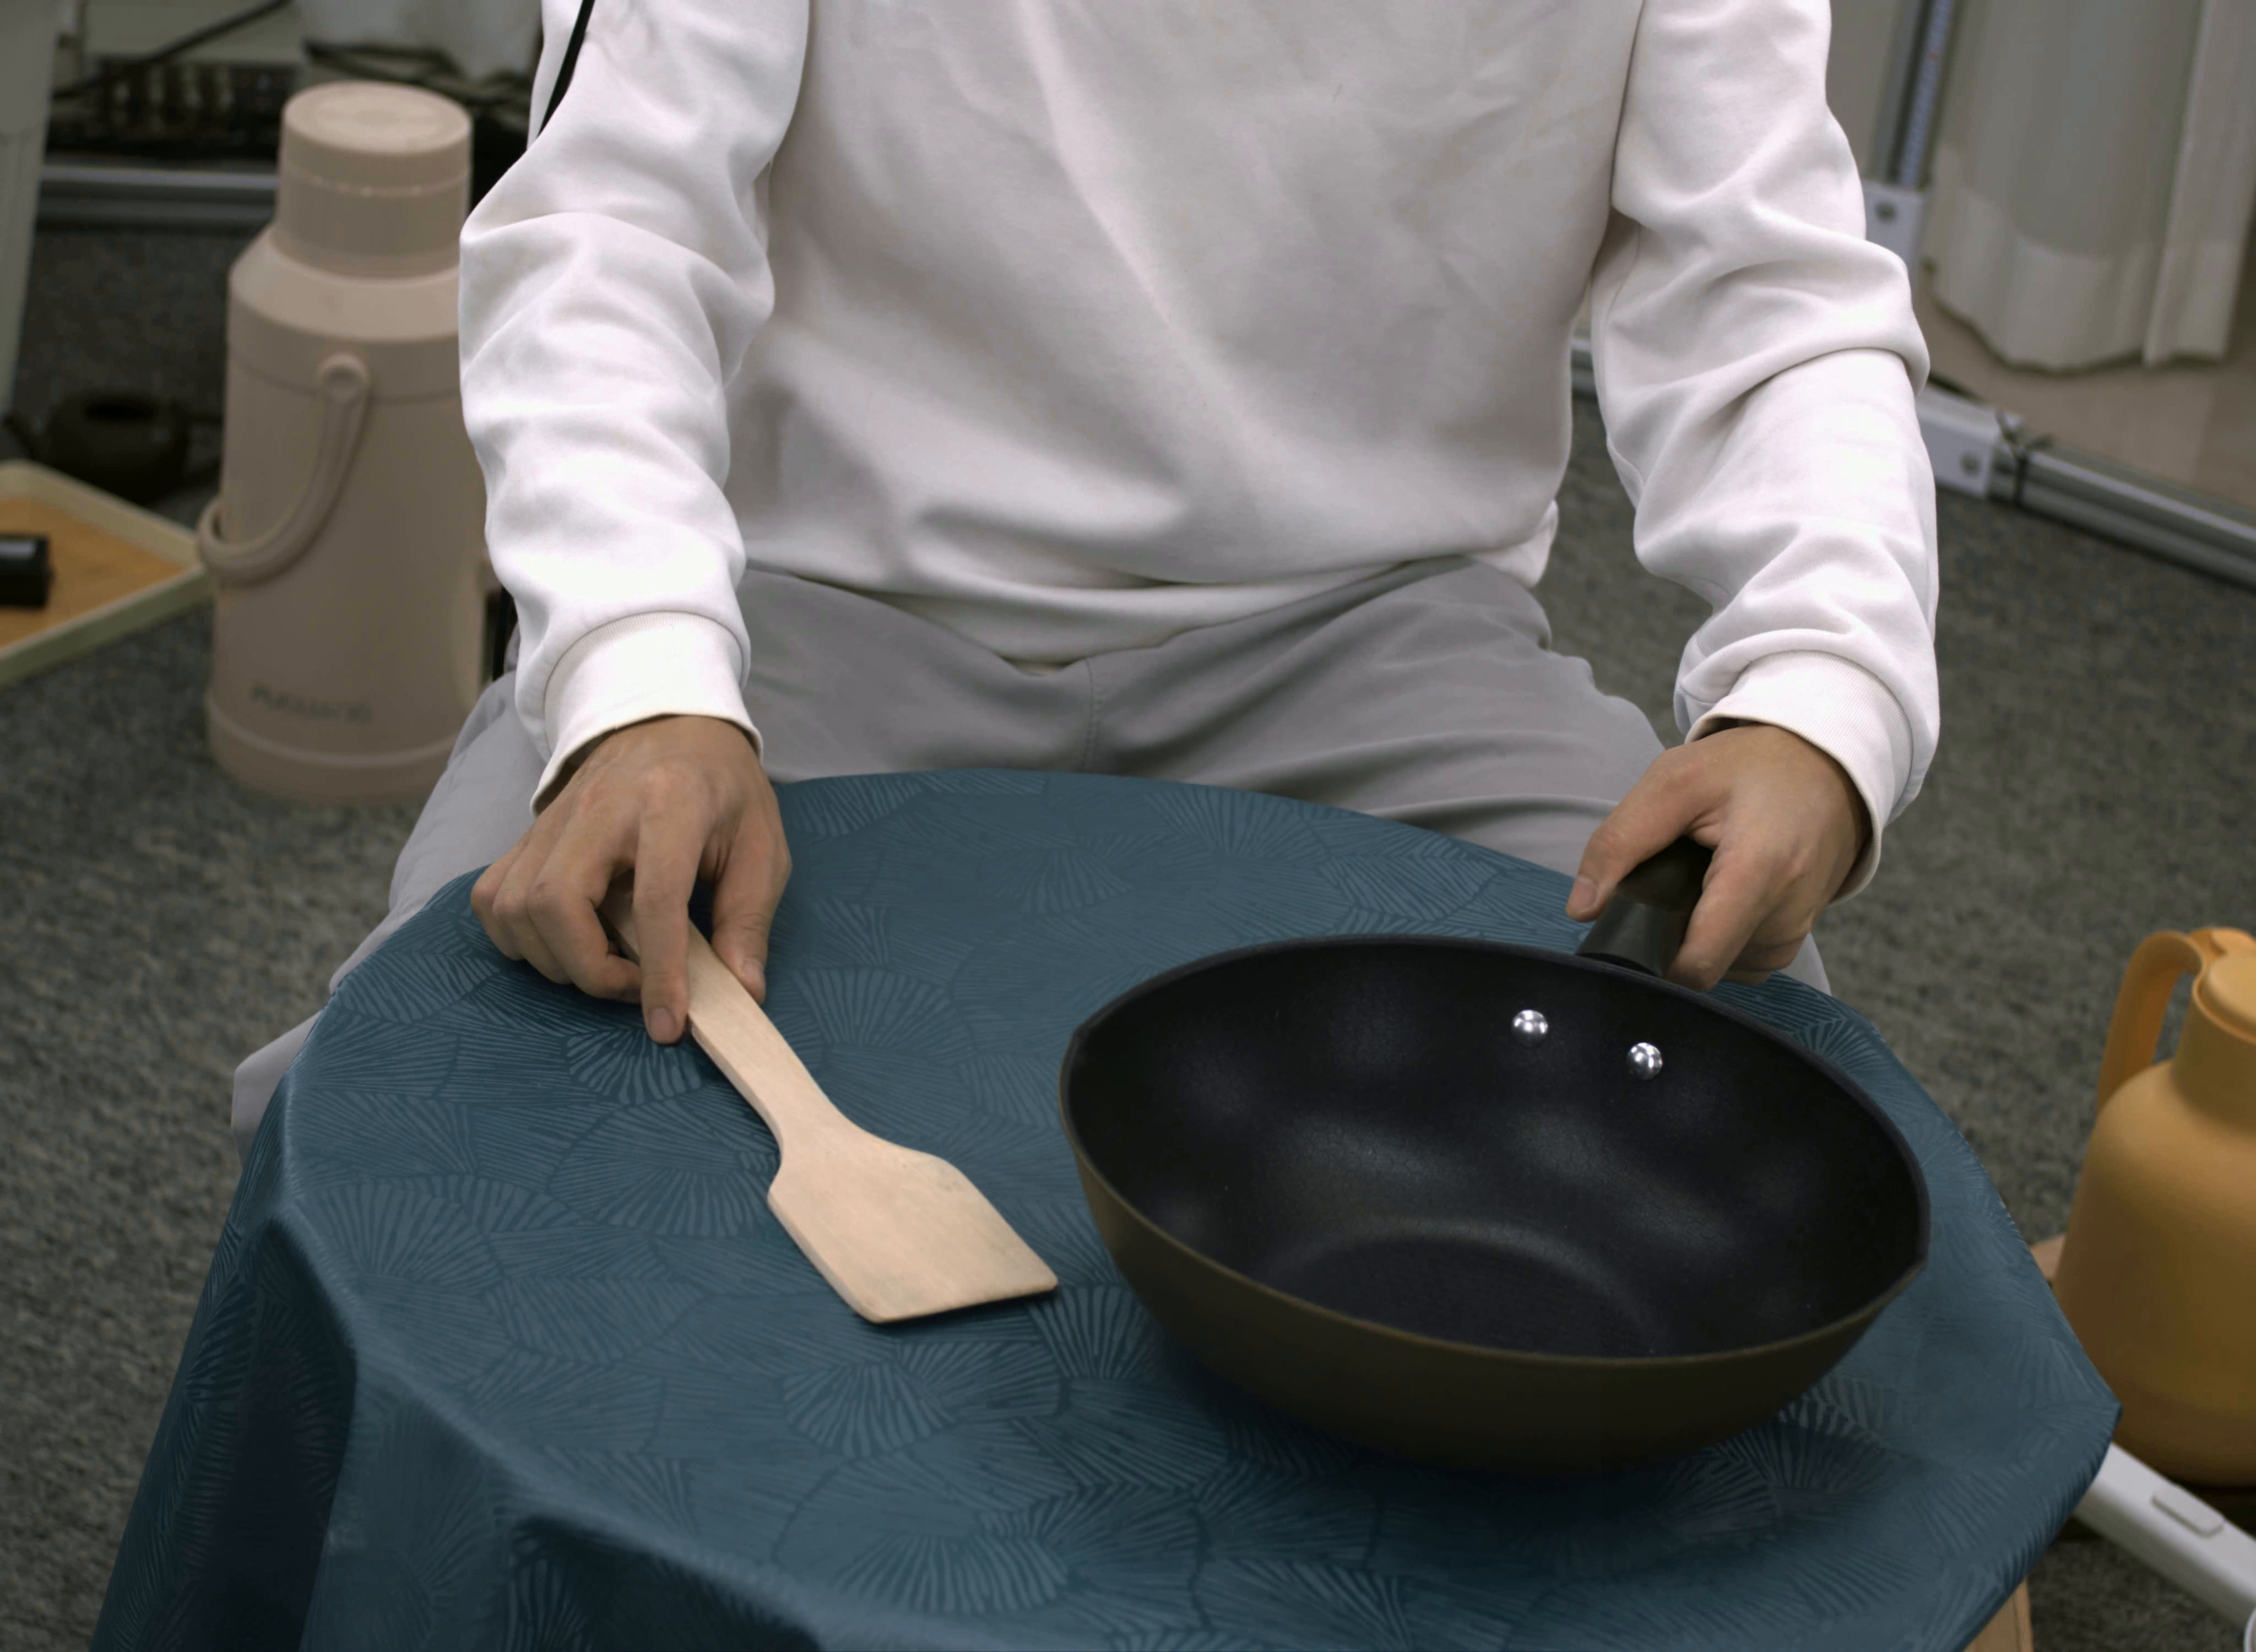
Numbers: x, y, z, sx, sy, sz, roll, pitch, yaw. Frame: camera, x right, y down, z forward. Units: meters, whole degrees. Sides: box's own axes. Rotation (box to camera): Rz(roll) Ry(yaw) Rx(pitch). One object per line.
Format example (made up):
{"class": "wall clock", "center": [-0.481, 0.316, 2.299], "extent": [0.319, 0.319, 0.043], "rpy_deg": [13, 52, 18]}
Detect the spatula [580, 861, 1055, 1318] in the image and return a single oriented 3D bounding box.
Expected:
{"class": "spatula", "center": [-0.122, 0.086, 1.835], "extent": [0.072, 0.010, 0.296], "rpy_deg": [-9, 33, -28]}

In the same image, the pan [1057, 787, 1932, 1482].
{"class": "pan", "center": [0.143, 0.100, 1.797], "extent": [0.288, 0.086, 0.463], "rpy_deg": [15, 26, 15]}
